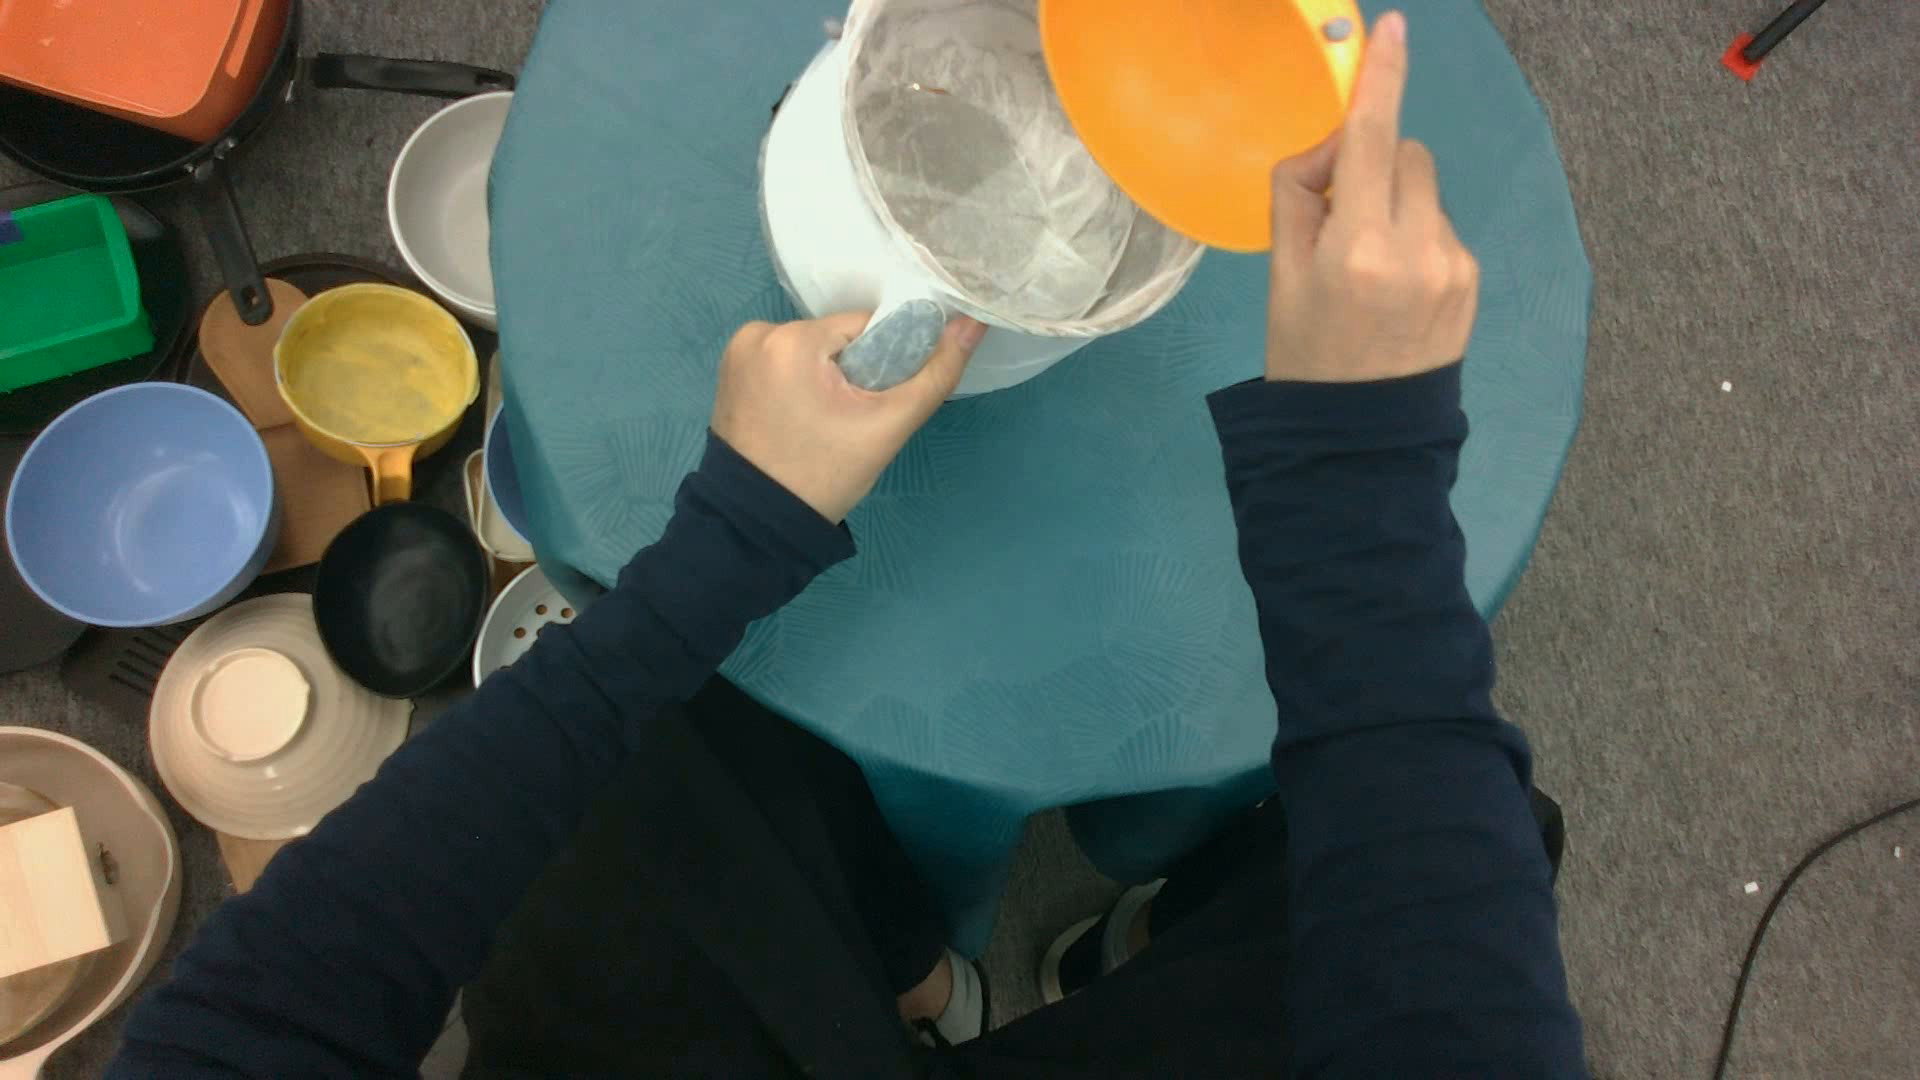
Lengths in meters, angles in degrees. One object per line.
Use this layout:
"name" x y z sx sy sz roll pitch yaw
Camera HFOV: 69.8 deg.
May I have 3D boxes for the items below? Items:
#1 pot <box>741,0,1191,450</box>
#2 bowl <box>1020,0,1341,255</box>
"pot" -0.011 -0.143 0.613 0.178 0.136 0.234 36 70 -18
"bowl" 0.094 -0.187 0.530 0.060 0.145 0.145 -41 86 -21
